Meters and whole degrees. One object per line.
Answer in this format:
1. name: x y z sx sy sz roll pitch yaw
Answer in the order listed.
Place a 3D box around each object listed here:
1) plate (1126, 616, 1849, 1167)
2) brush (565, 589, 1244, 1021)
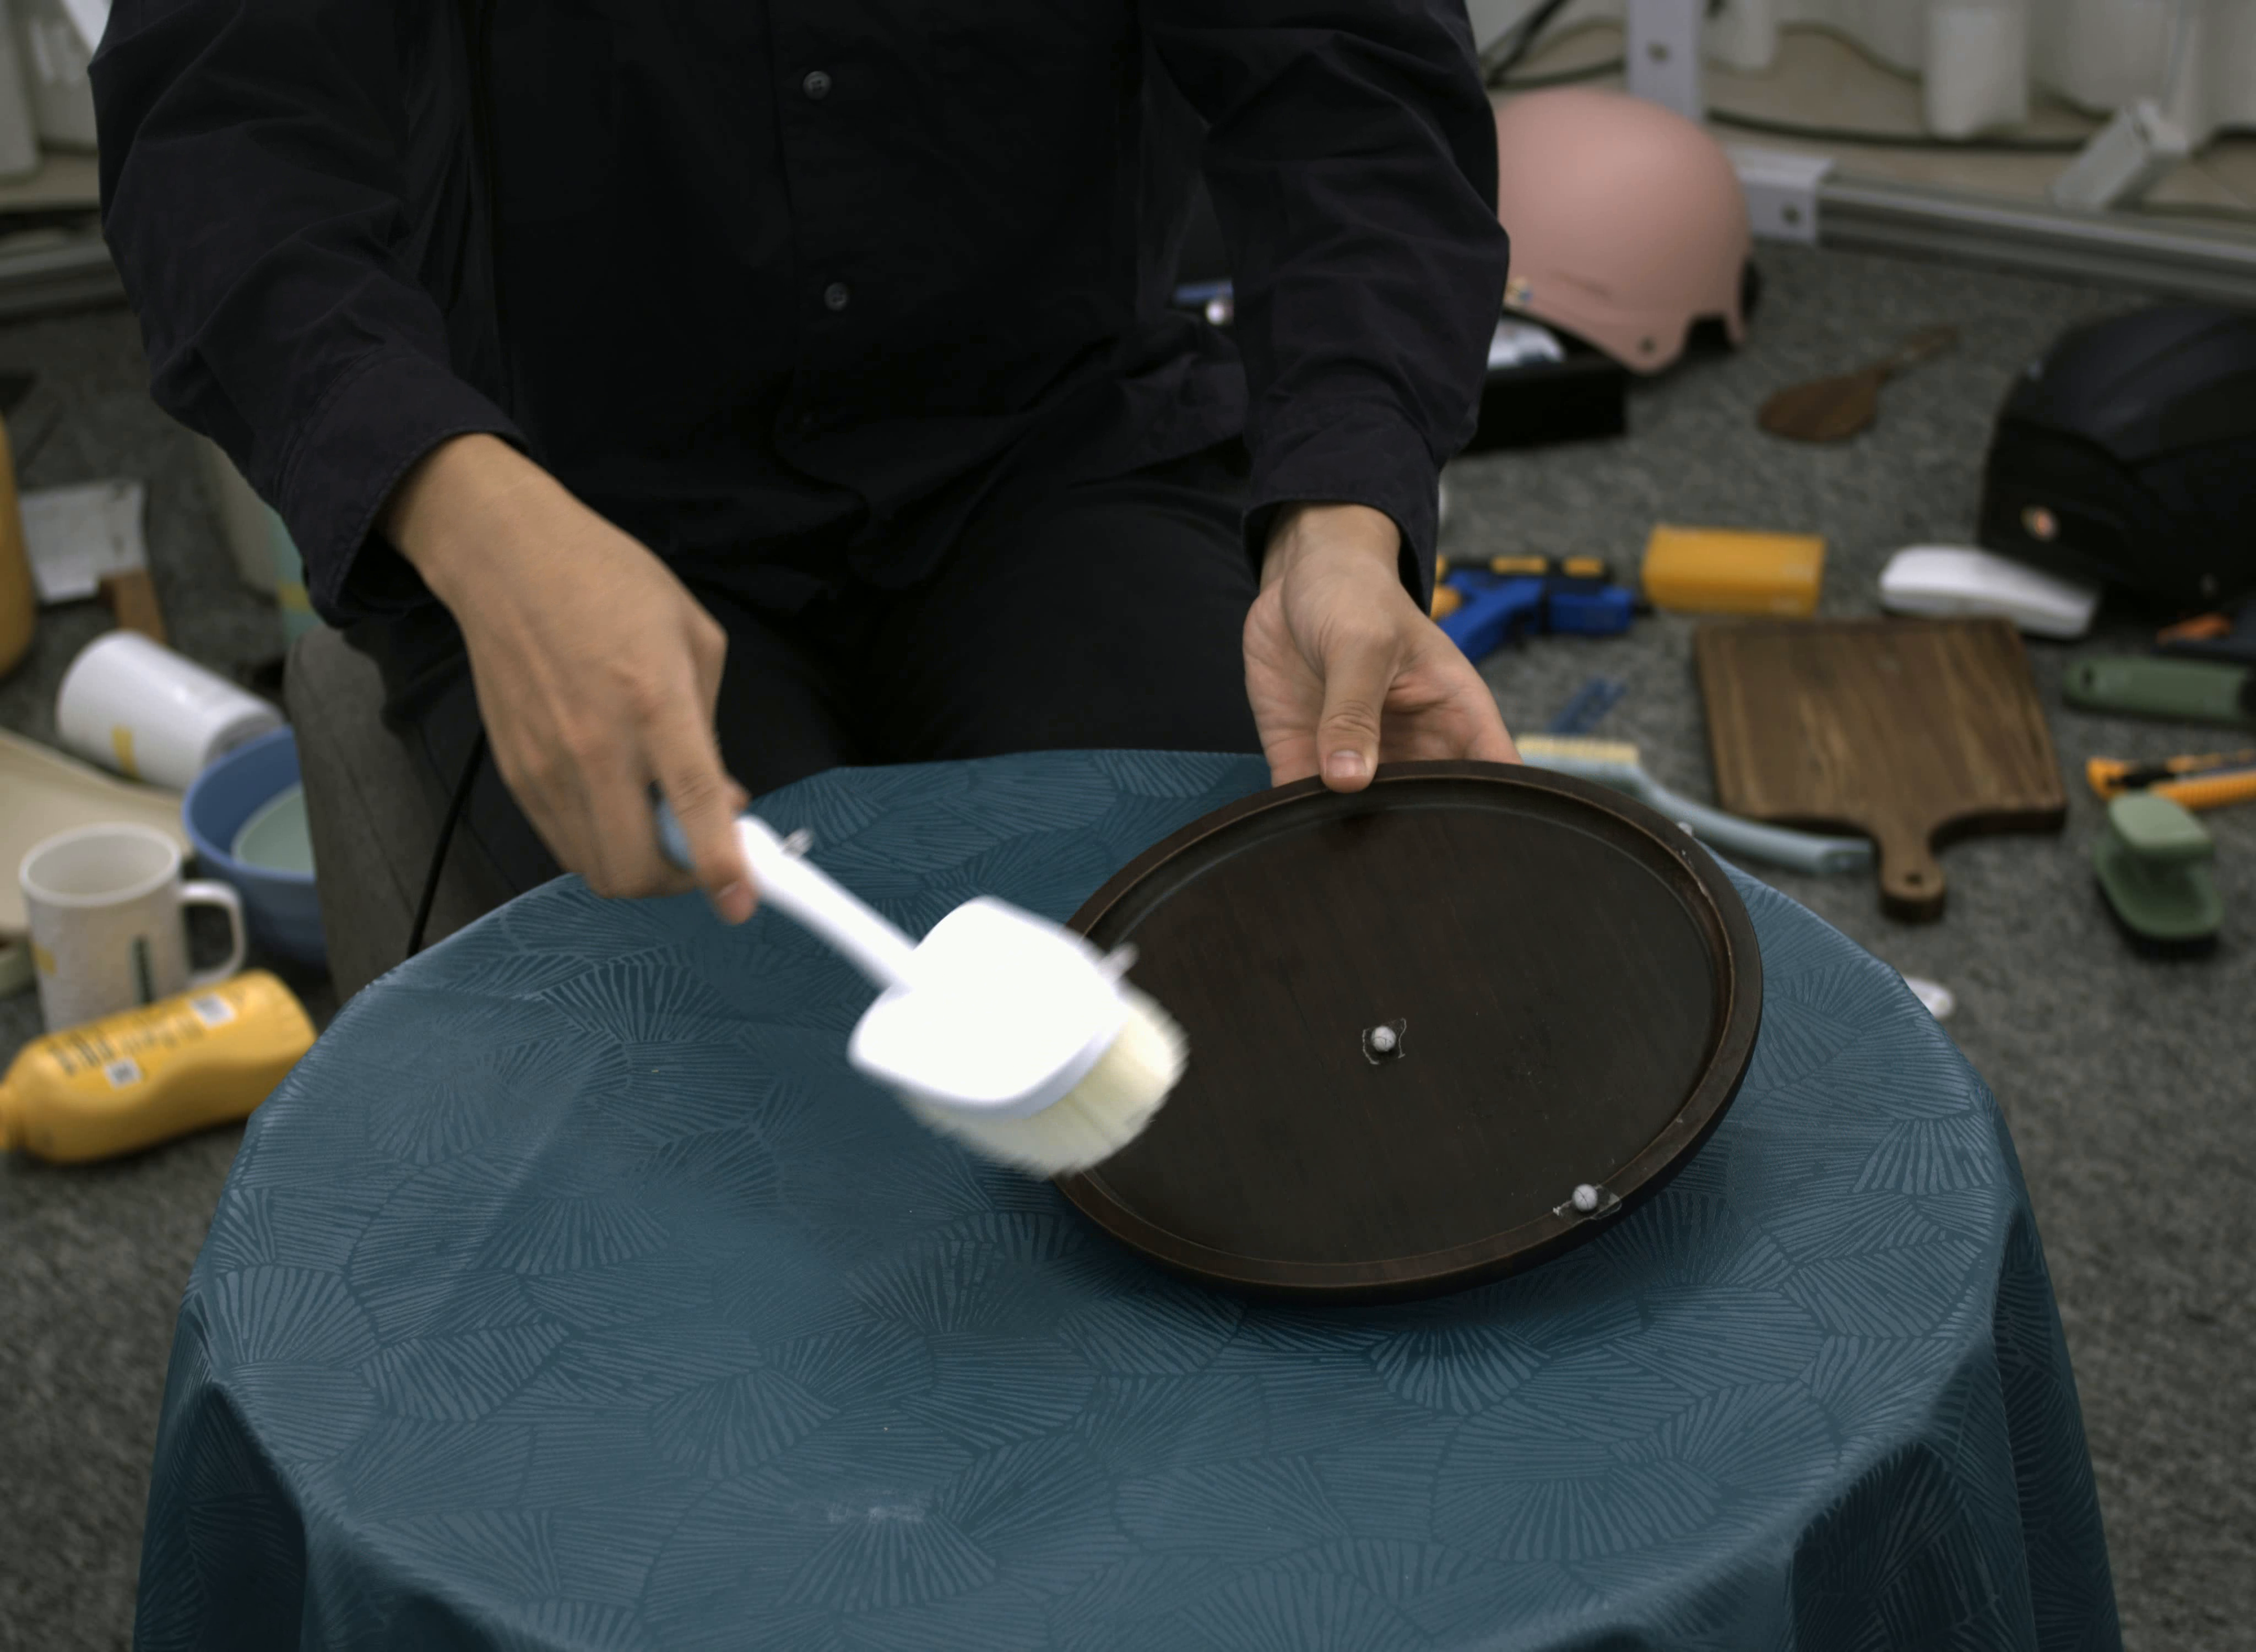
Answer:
1. plate: 0.117 0.022 1.890 0.253 0.028 0.260 -9 40 8
2. brush: -0.069 -0.008 1.864 0.084 0.084 0.325 -21 30 -35
